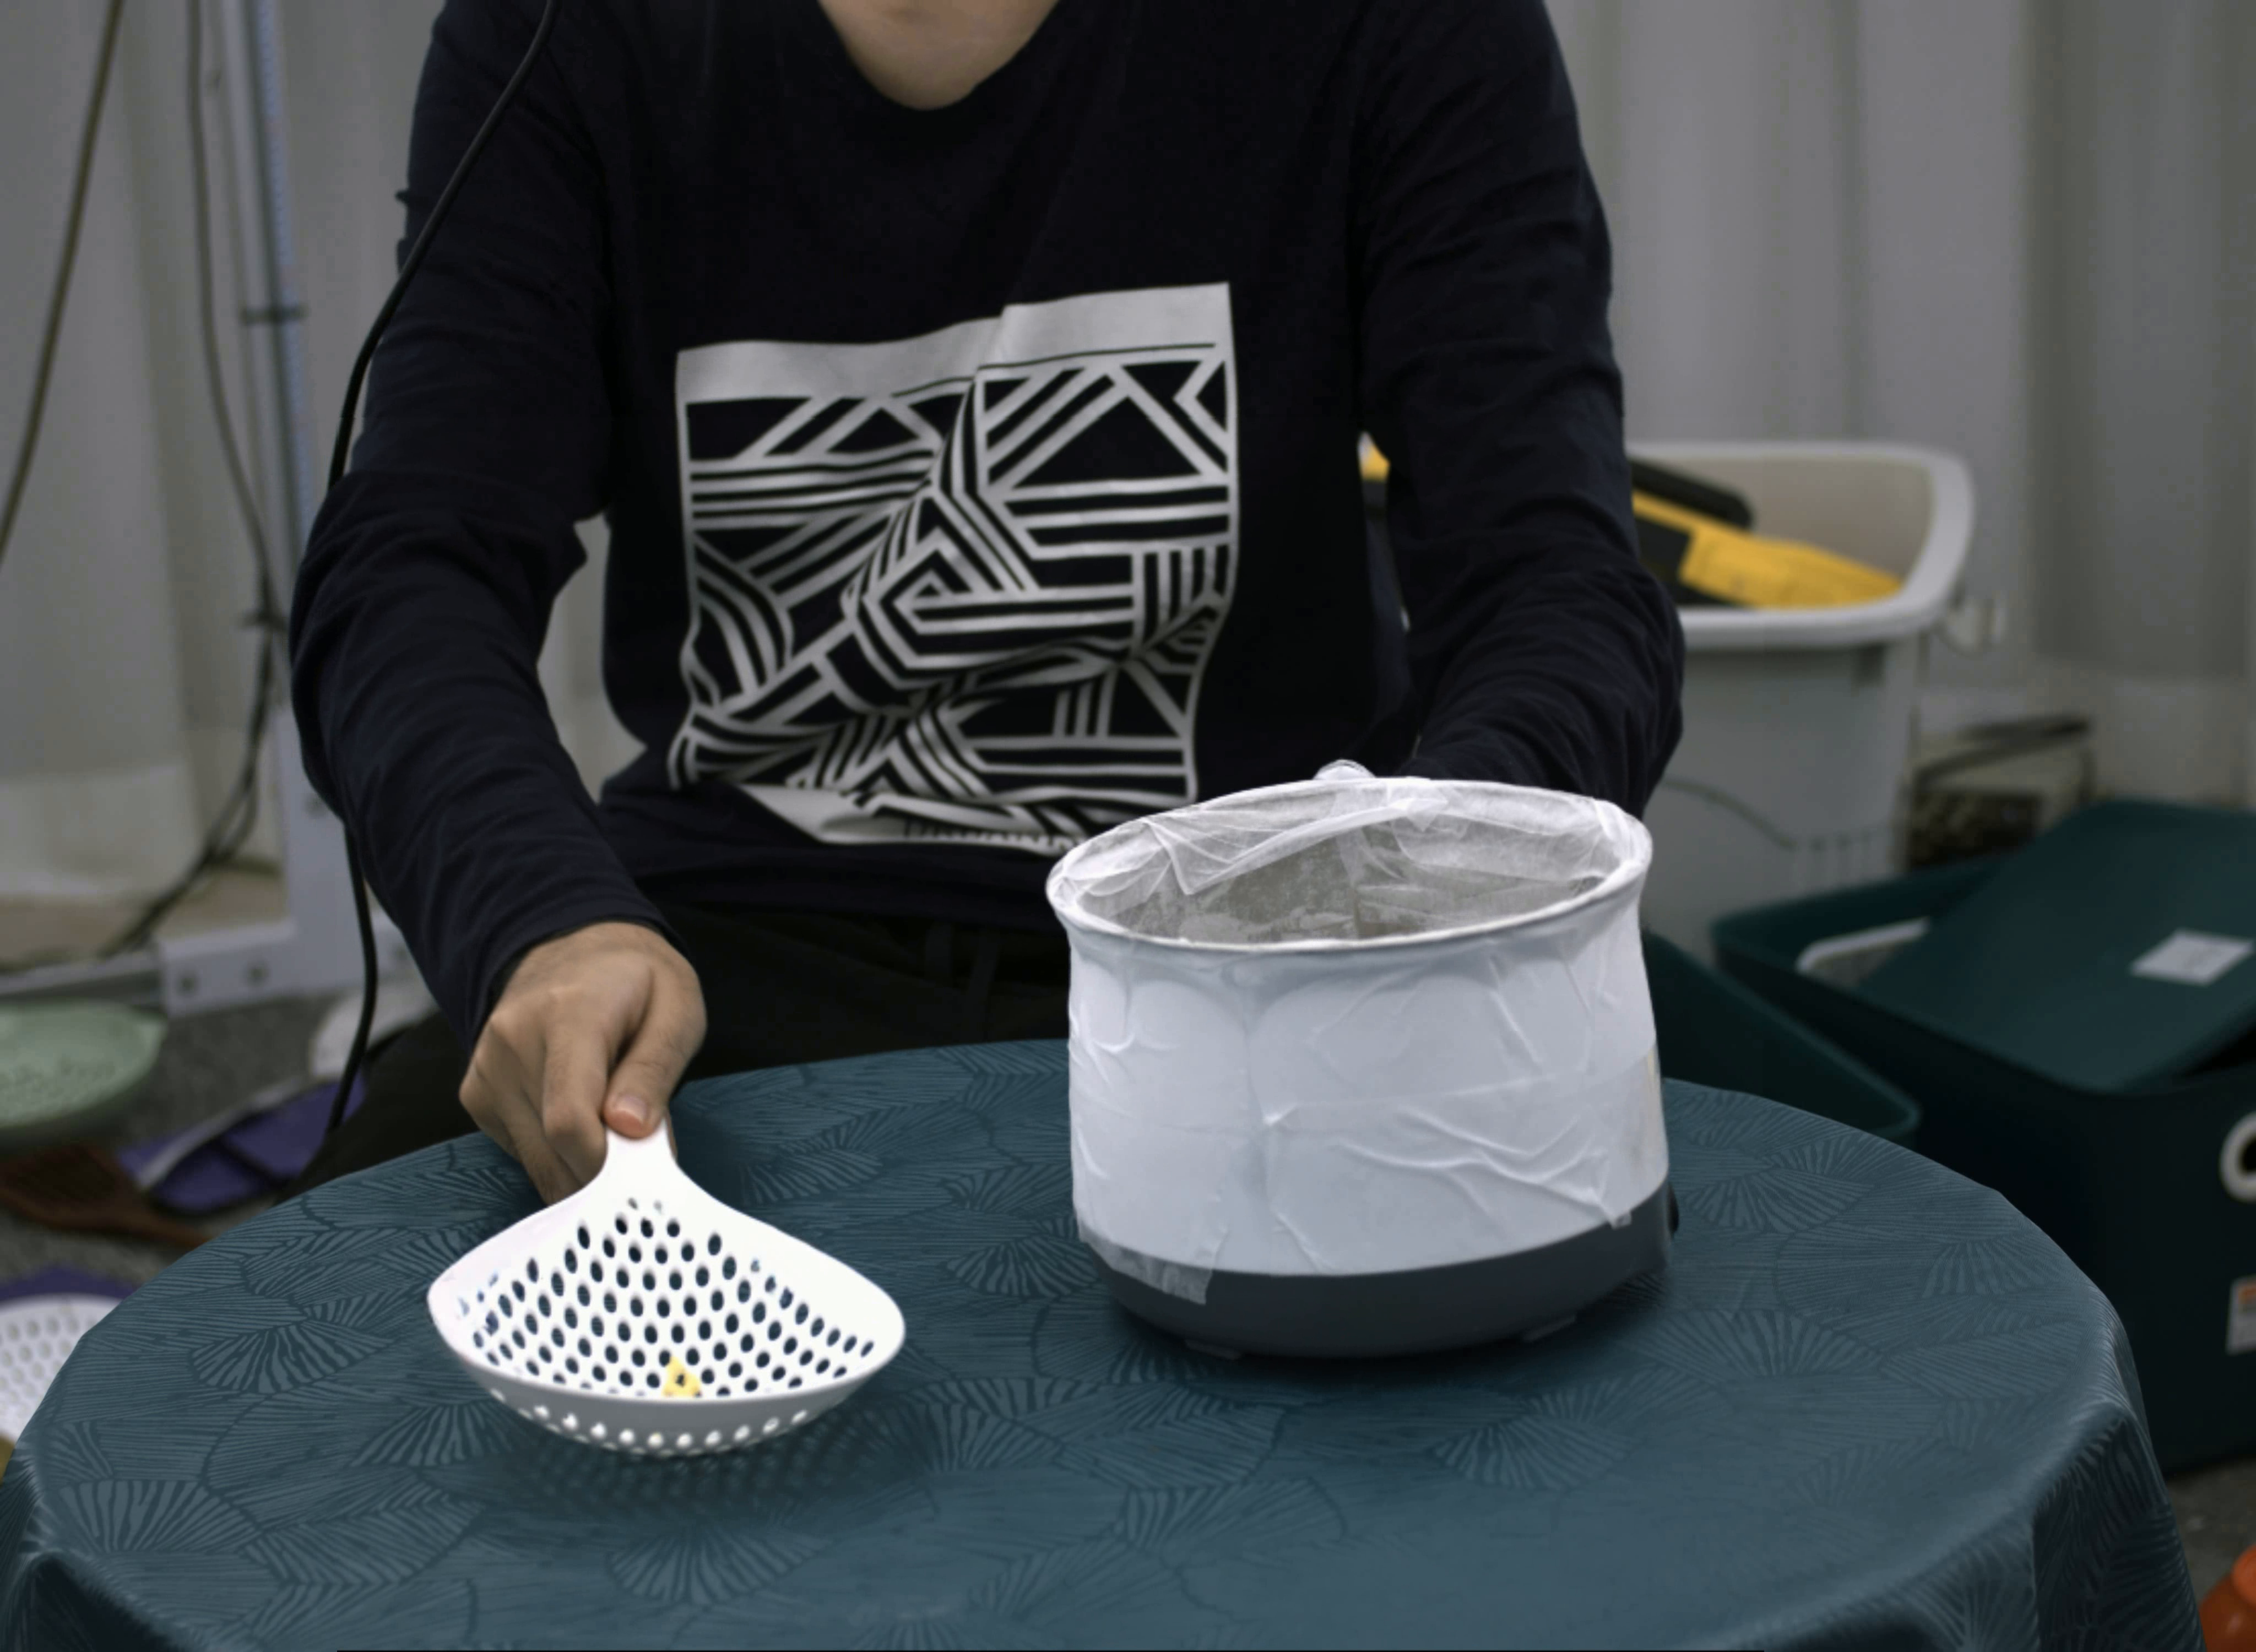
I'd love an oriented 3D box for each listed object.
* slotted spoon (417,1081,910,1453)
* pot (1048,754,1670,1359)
[{"bbox_3d":[-0.148,0.117,1.628,0.136,0.050,0.351,0,18,-10],"label":"slotted spoon"},{"bbox_3d":[0.068,0.063,1.626,0.178,0.136,0.235,-3,15,0],"label":"pot"}]
